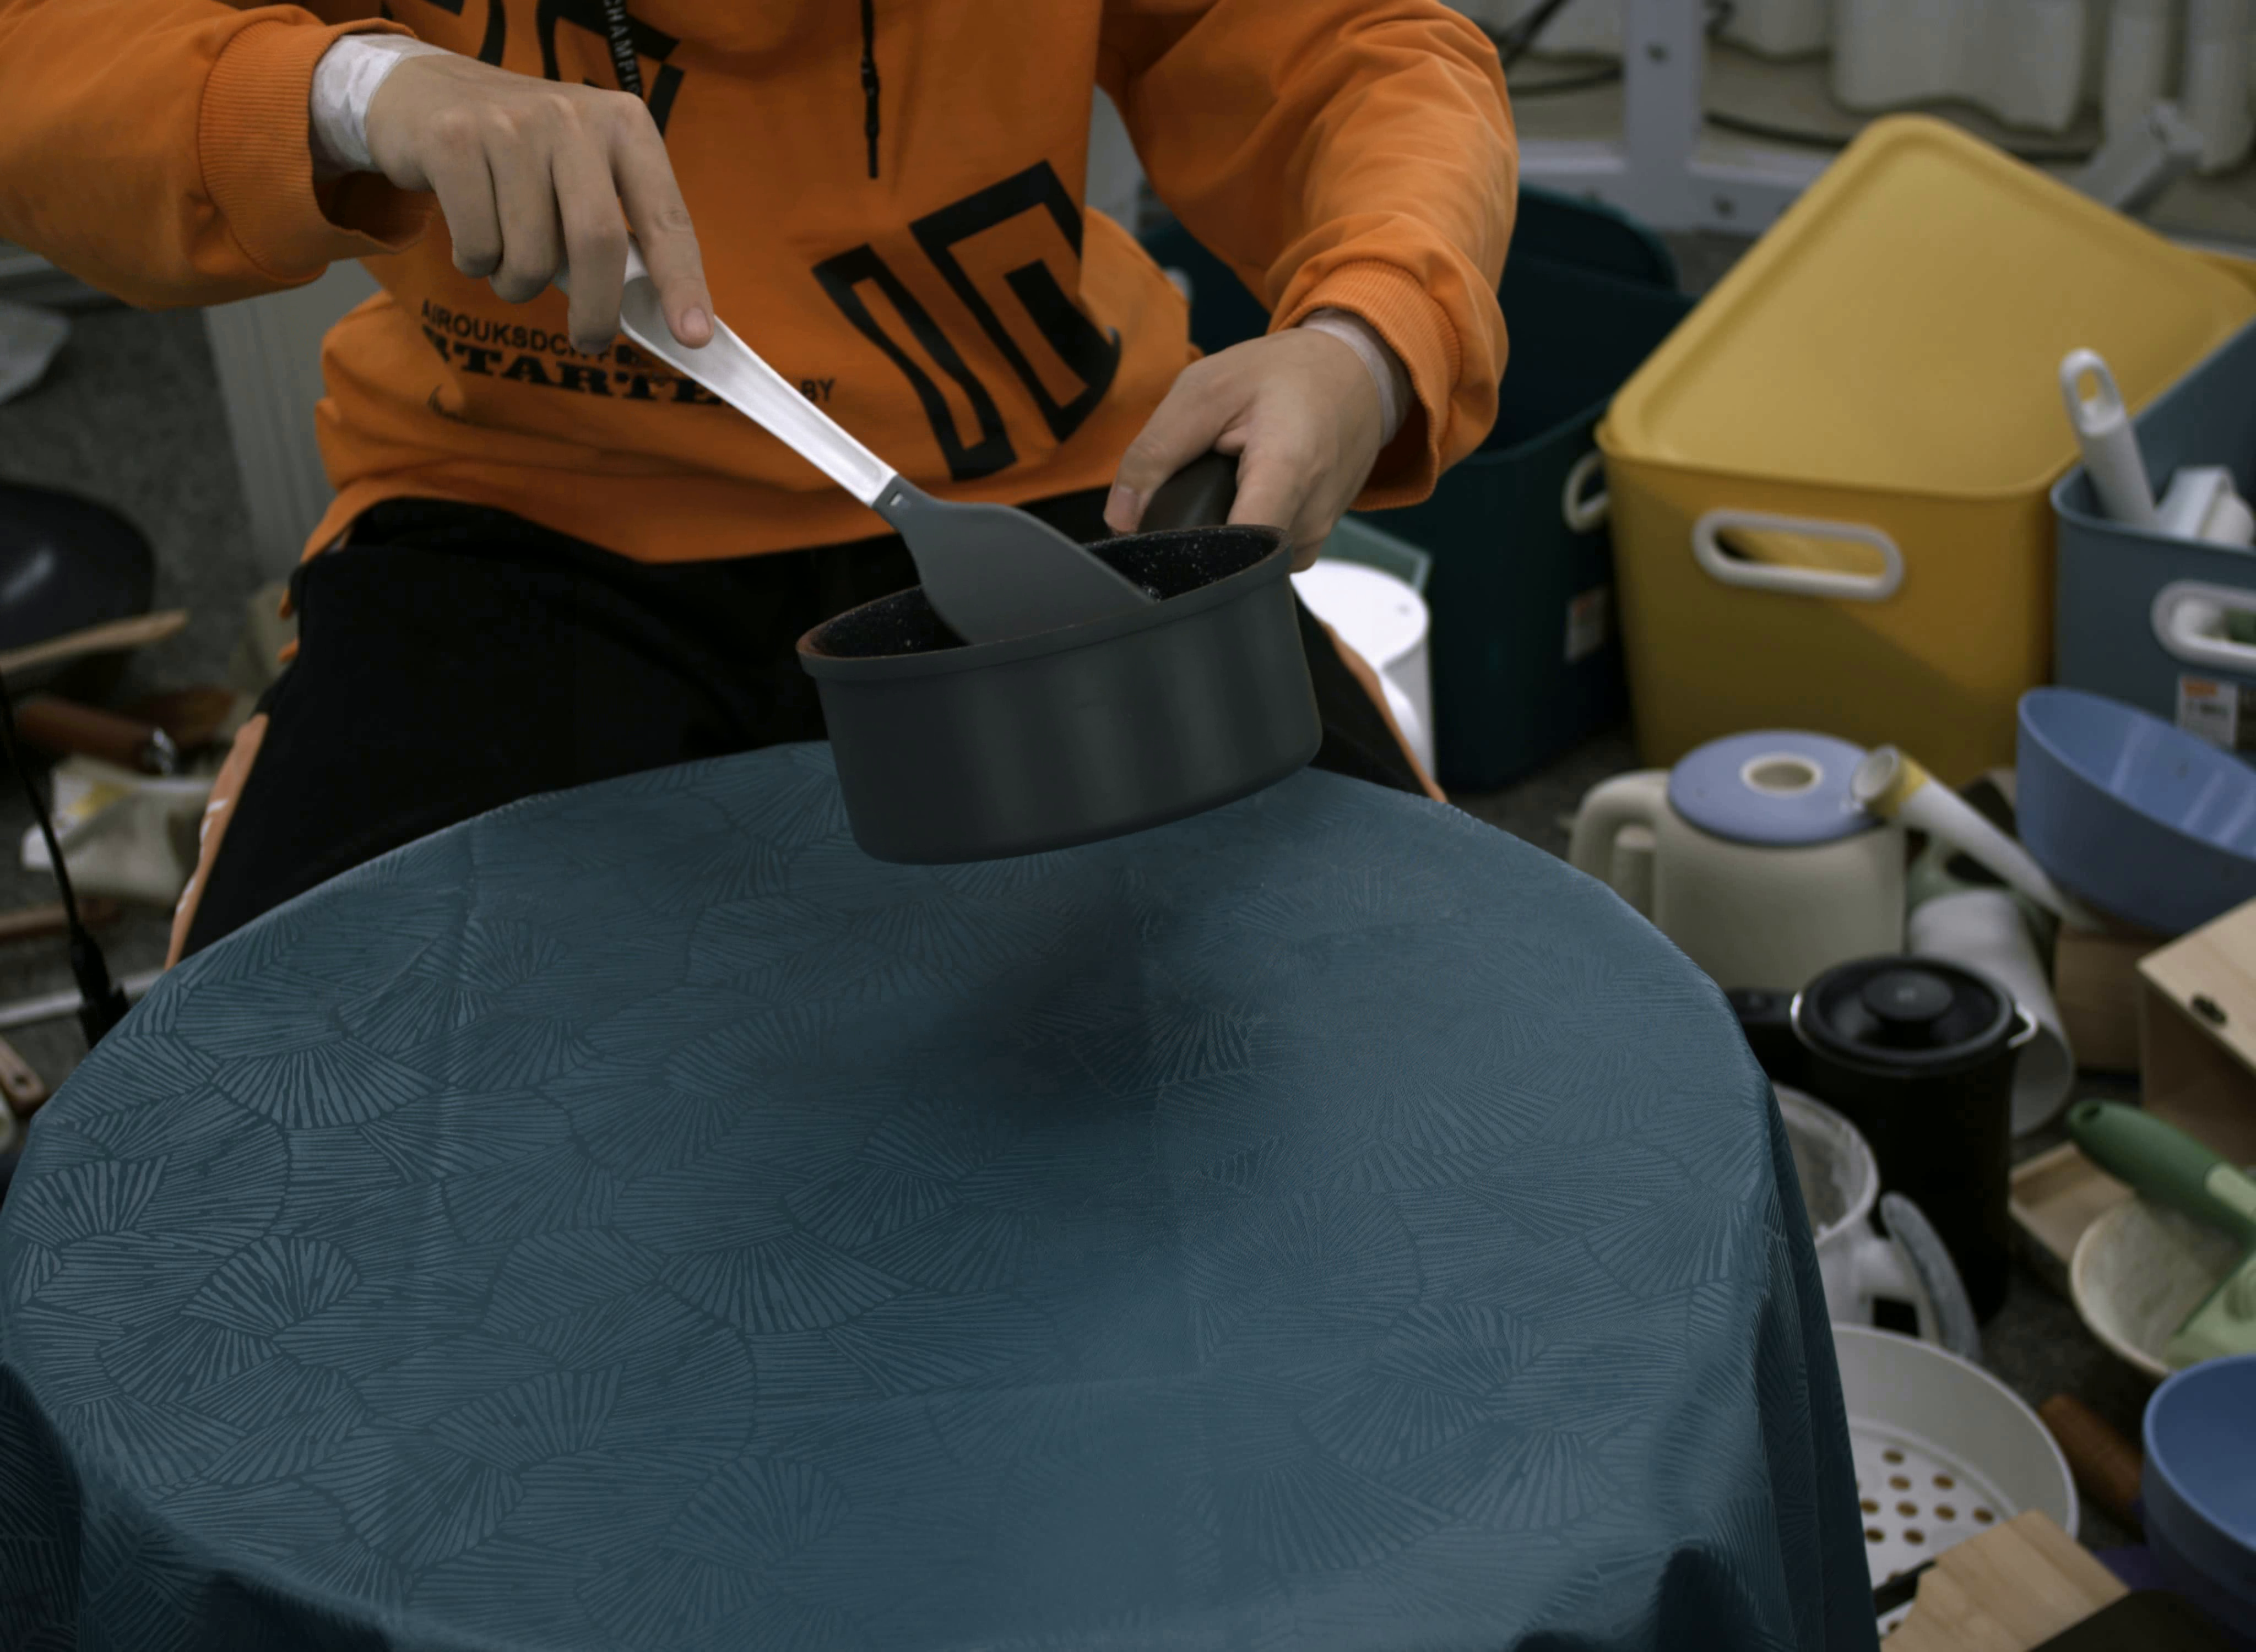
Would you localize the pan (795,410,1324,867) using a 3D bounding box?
[{"bbox_3d":[0.004,-0.068,1.968,0.170,0.086,0.333,-7,14,21],"label":"pan"}]

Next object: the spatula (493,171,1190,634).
[{"bbox_3d":[-0.103,-0.139,1.968,0.288,0.059,0.032,35,-2,15],"label":"spatula"}]
